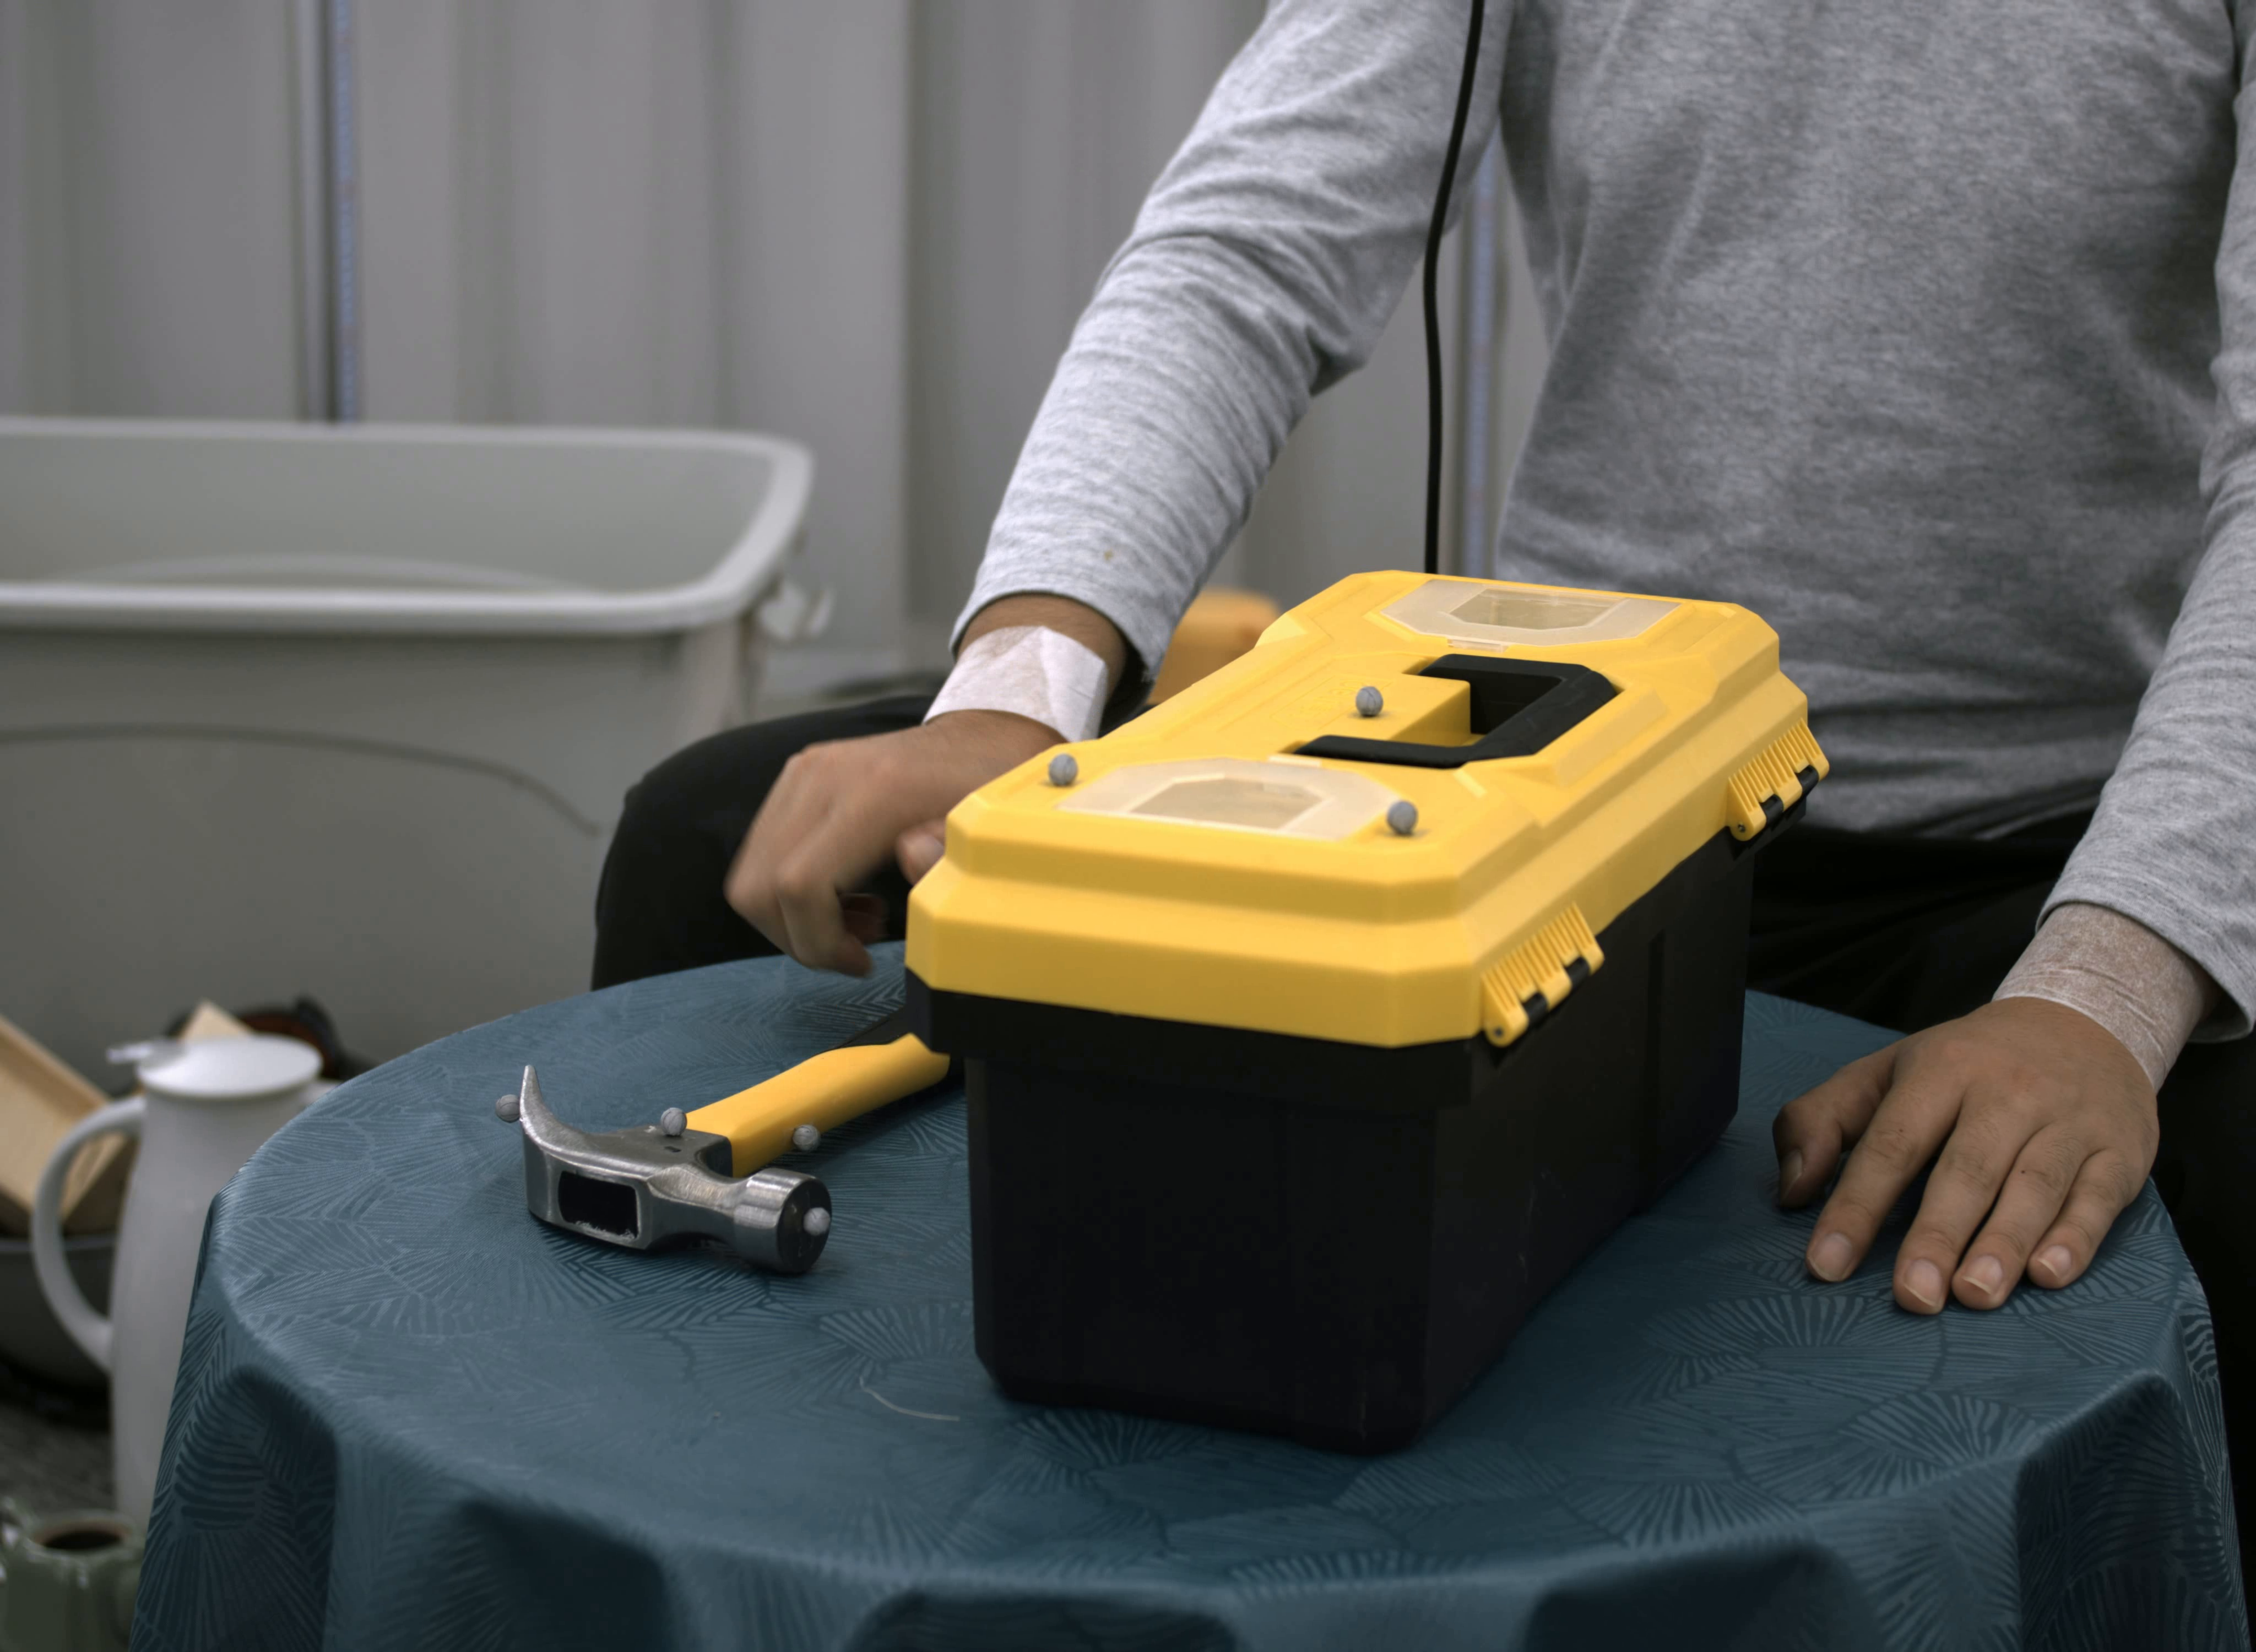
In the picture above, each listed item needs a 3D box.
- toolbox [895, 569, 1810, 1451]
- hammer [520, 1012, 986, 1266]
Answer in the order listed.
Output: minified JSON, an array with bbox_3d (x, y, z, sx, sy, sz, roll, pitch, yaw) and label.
[{"bbox_3d":[0.075,0.044,1.549,0.179,0.174,0.352,7,17,22],"label":"toolbox"},{"bbox_3d":[-0.073,0.076,1.705,0.130,0.032,0.340,7,15,30],"label":"hammer"}]
